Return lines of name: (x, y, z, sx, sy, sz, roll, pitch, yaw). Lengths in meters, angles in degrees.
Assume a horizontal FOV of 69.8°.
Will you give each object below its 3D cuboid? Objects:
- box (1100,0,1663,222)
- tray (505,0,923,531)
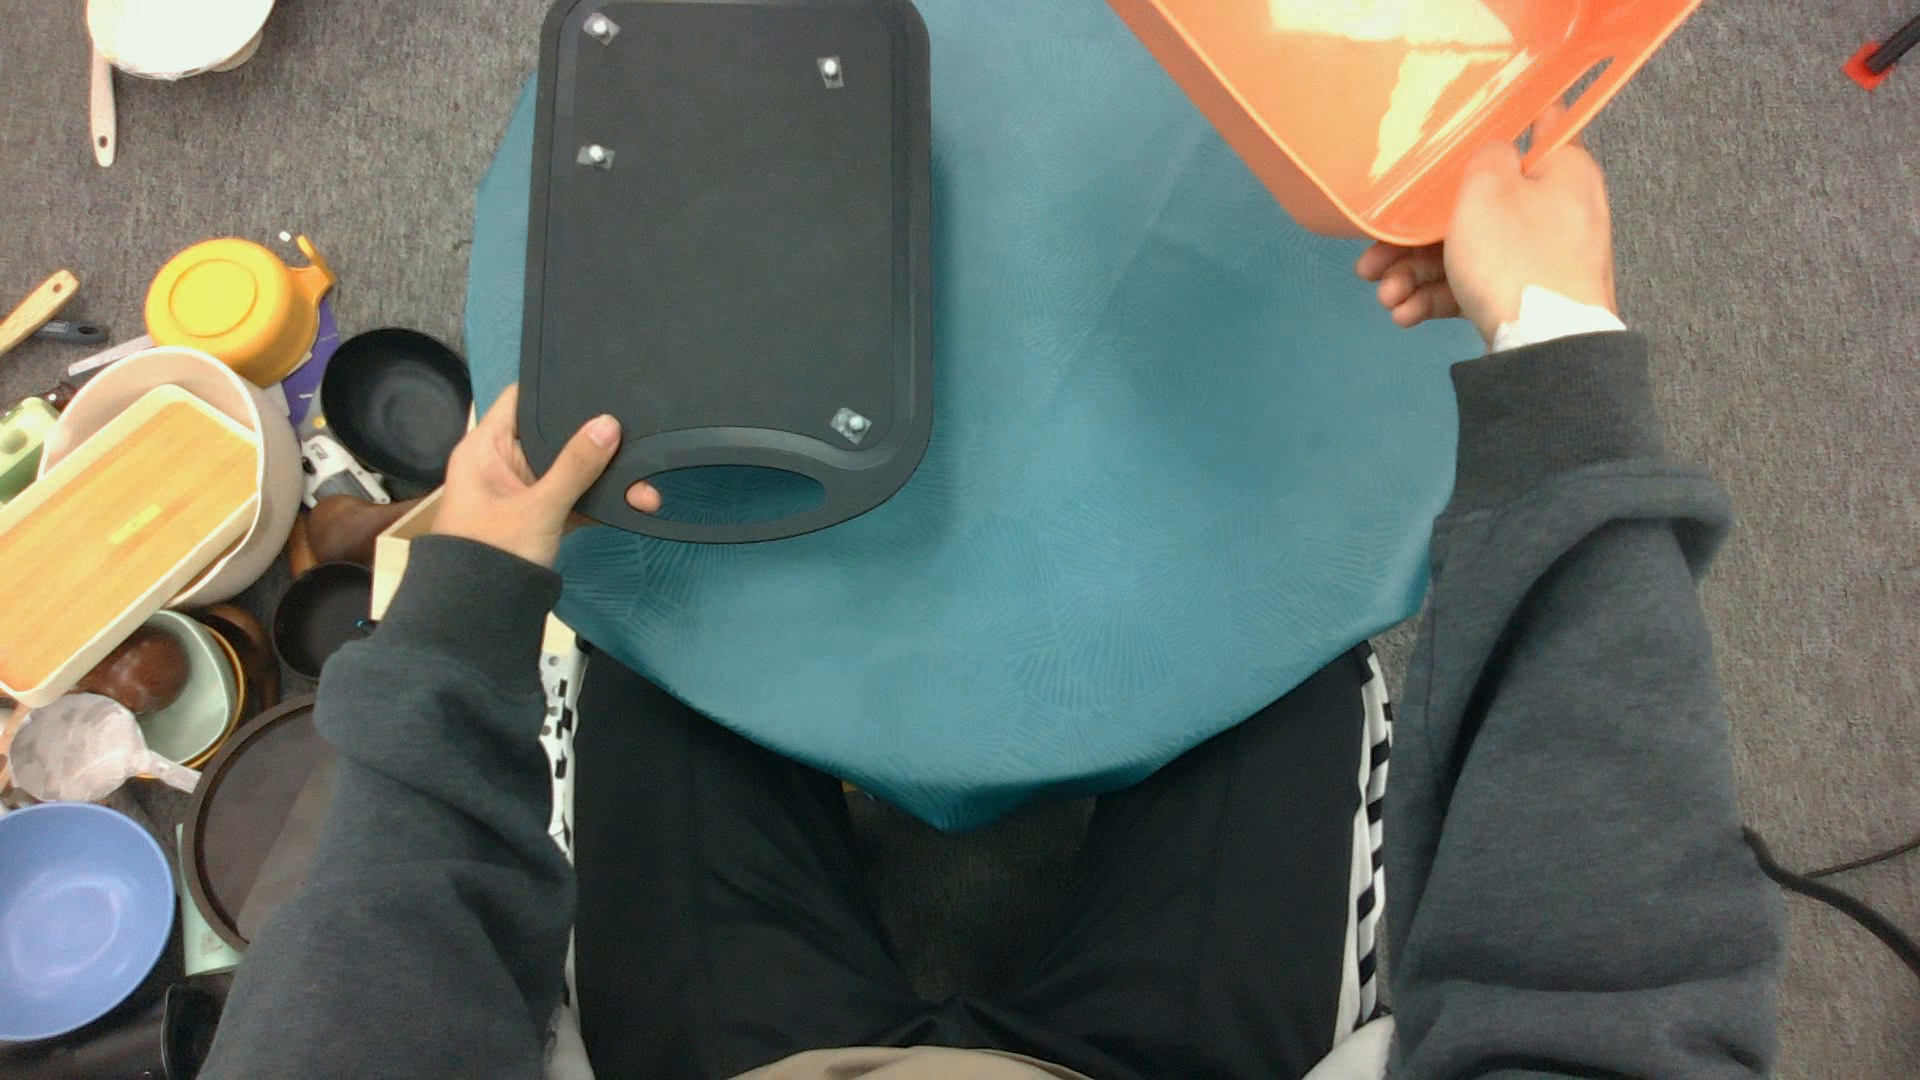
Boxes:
box: (0.148, -0.279, 0.588, 0.199, 0.102, 0.273, -42, 94, 1)
tray: (-0.126, -0.163, 0.721, 0.211, 0.010, 0.326, -1, 76, -4)
